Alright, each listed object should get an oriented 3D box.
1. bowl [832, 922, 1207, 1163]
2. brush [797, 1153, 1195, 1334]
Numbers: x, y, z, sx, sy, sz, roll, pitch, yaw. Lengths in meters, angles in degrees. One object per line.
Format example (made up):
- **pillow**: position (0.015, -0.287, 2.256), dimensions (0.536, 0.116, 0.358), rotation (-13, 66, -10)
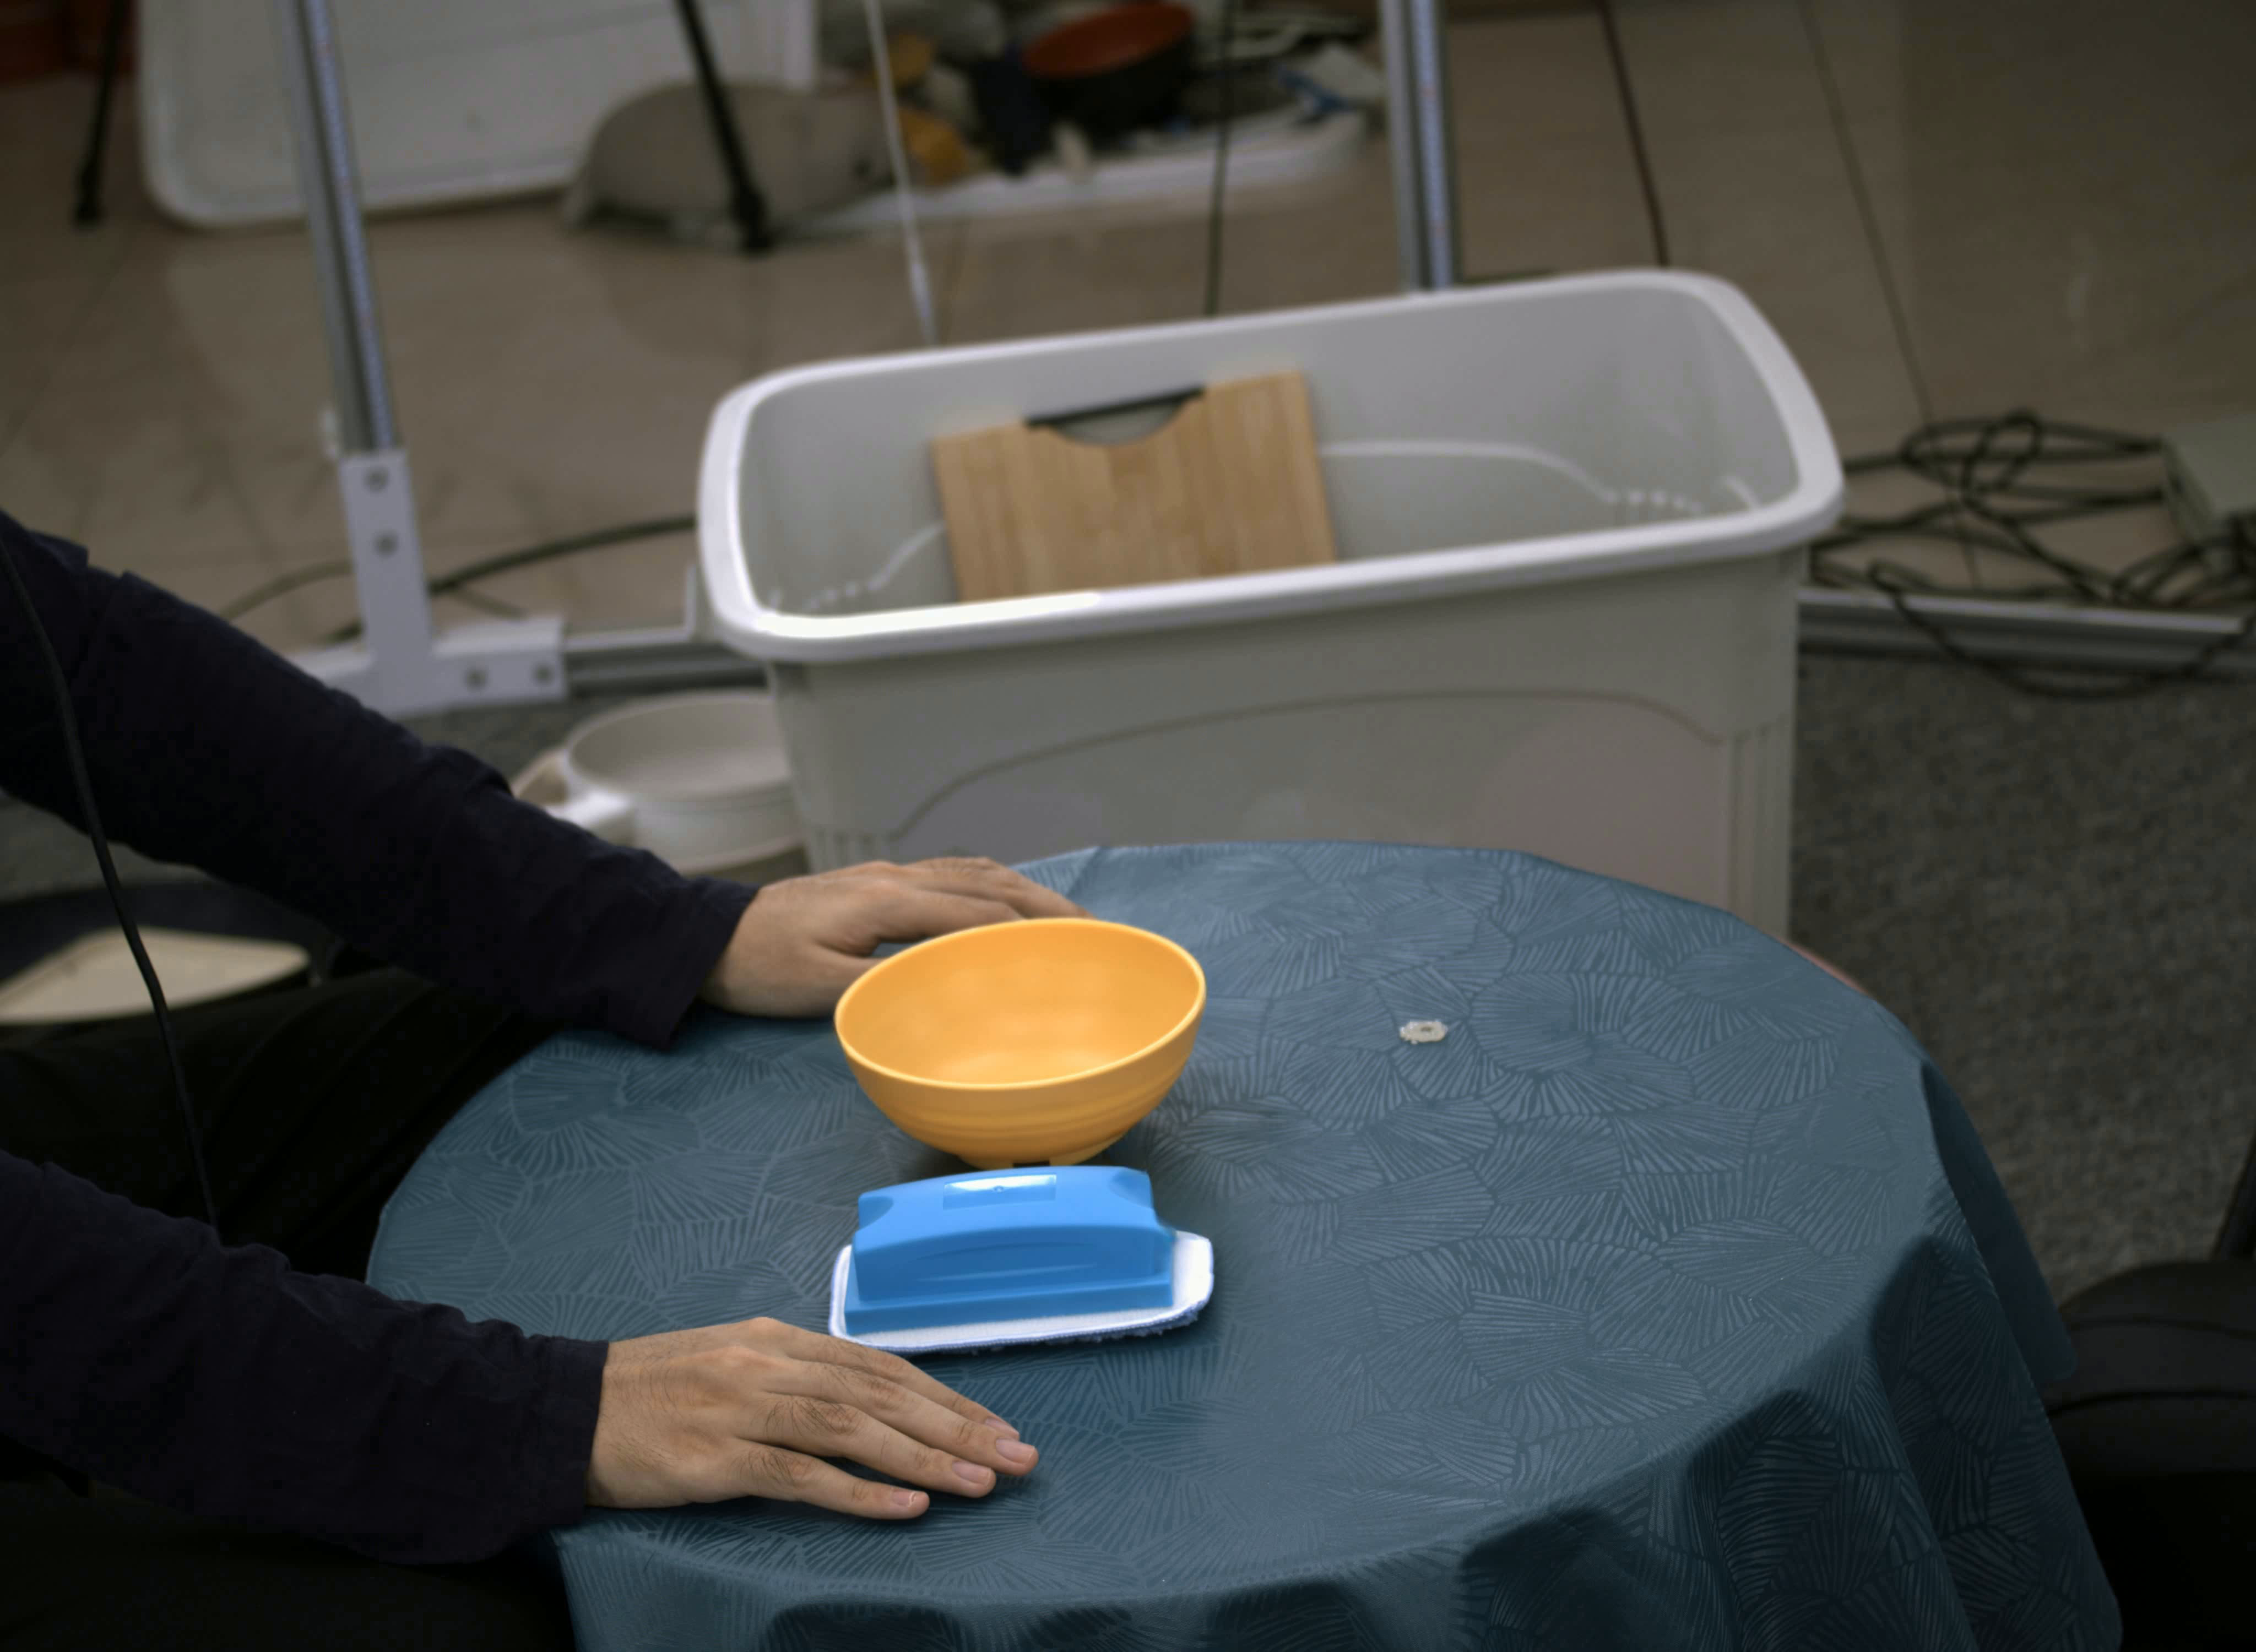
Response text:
- **bowl**: position (-0.040, 0.094, 2.186), dimensions (0.145, 0.061, 0.143), rotation (-4, 24, 2)
- **brush**: position (-0.048, 0.149, 2.063), dimensions (0.144, 0.057, 0.083), rotation (-2, 22, 4)
